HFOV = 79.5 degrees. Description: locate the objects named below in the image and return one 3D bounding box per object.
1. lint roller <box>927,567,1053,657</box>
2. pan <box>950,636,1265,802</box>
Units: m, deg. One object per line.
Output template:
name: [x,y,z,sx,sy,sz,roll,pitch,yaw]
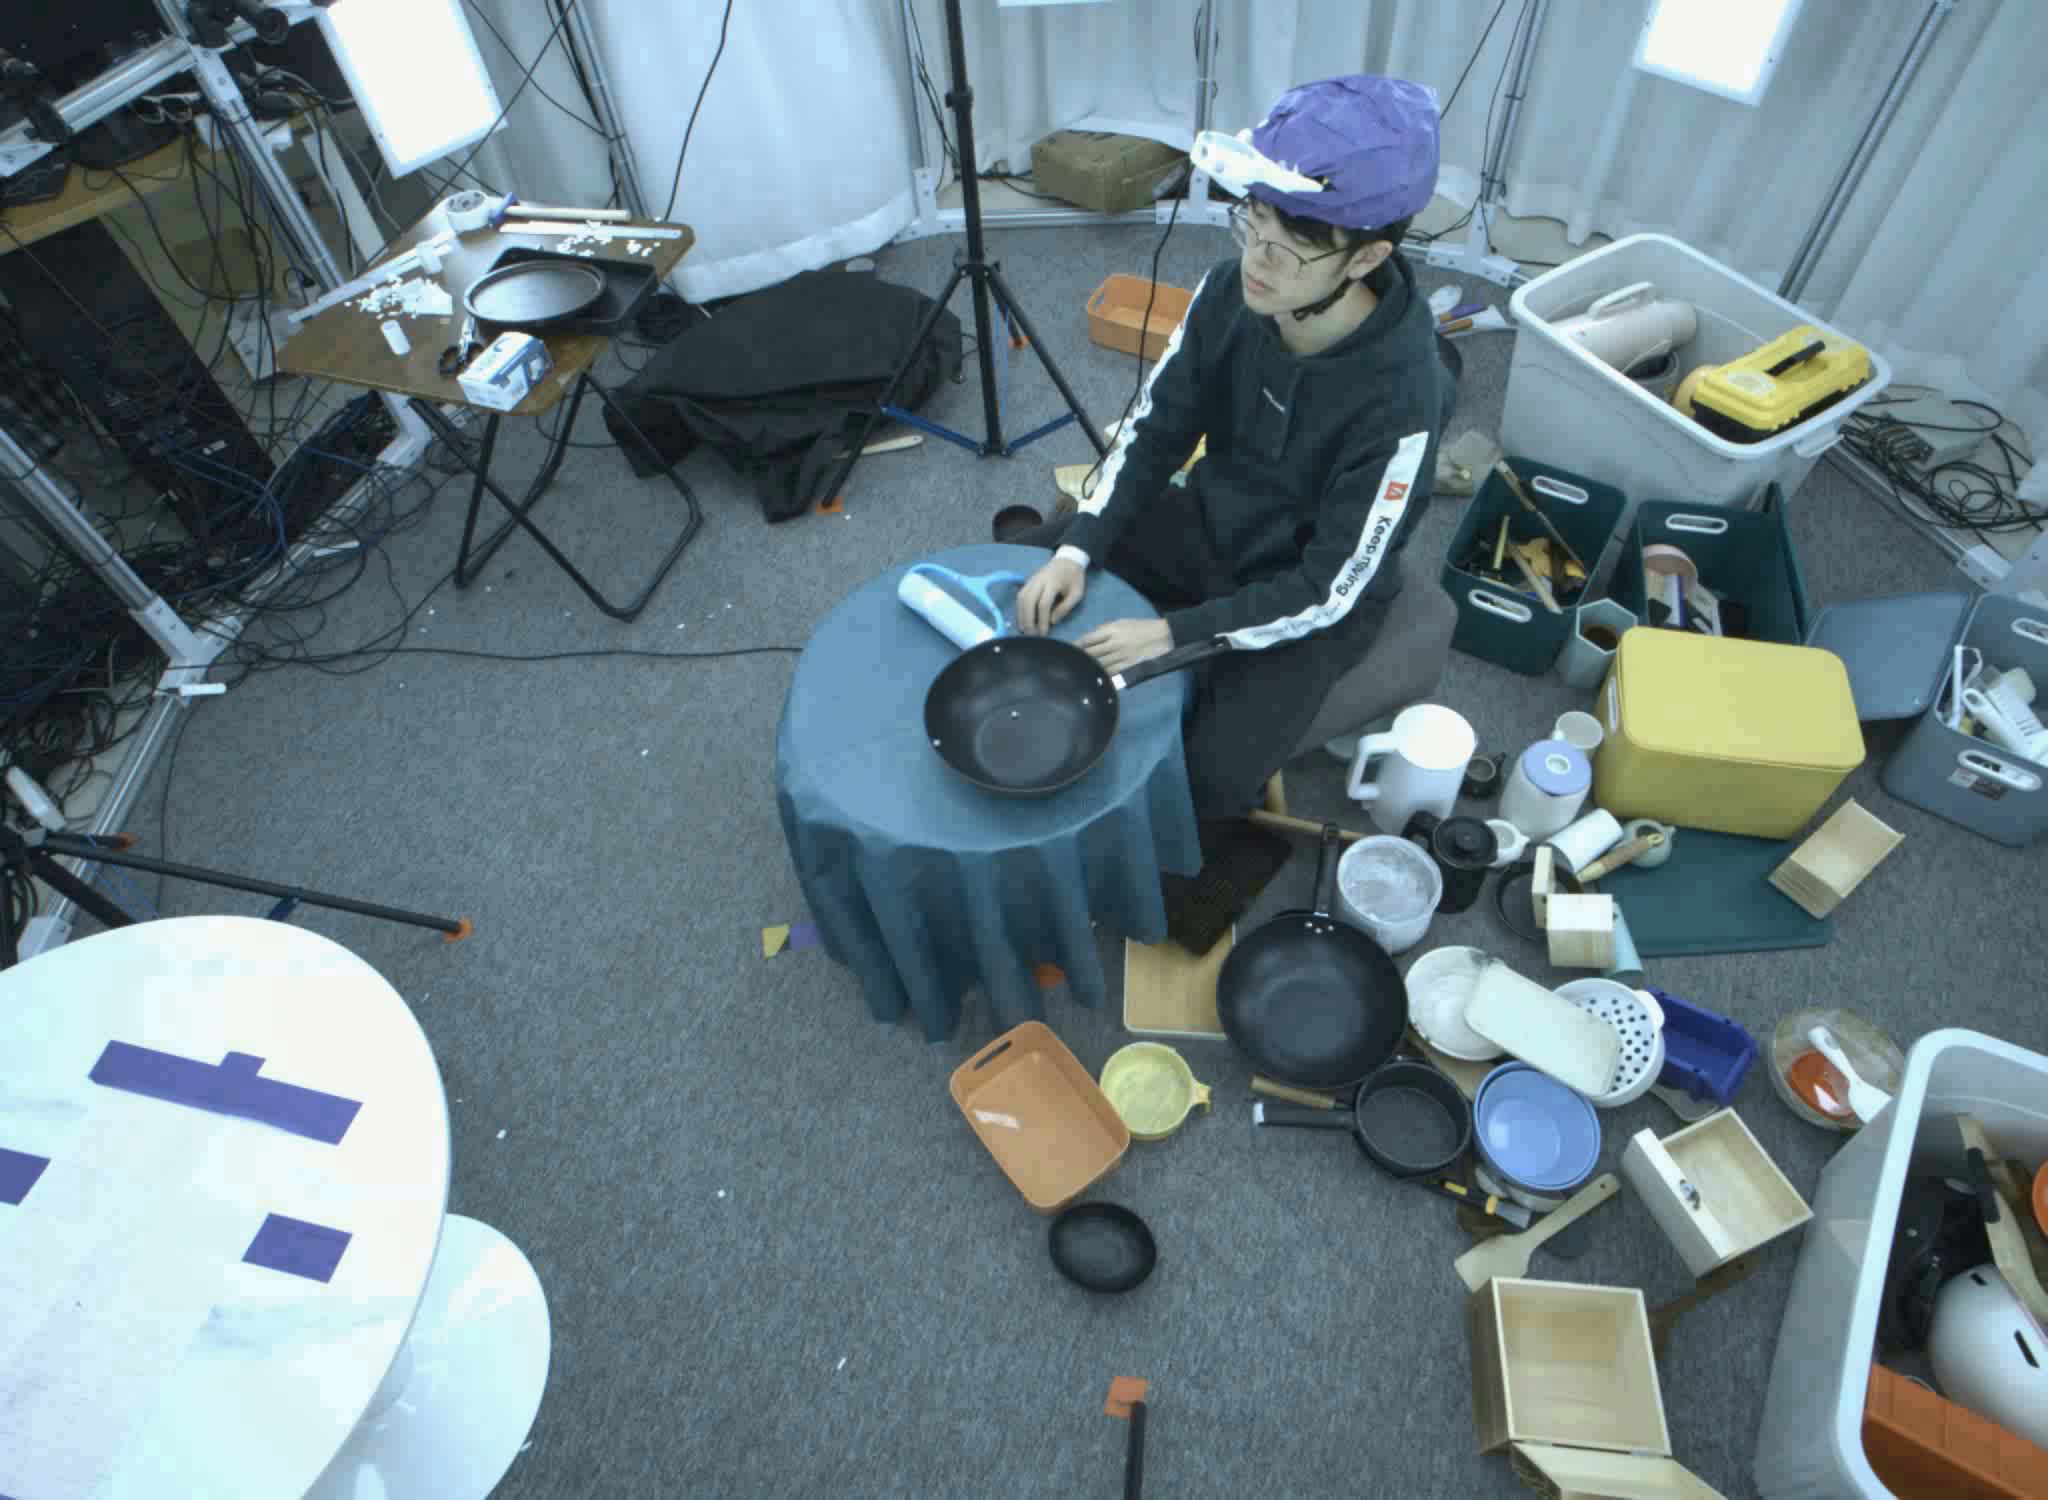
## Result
lint roller: [-0.027,-0.236,1.917,0.224,0.069,0.181,37,64,27]
pan: [0.124,-0.056,1.768,0.466,0.088,0.283,-16,56,-10]
